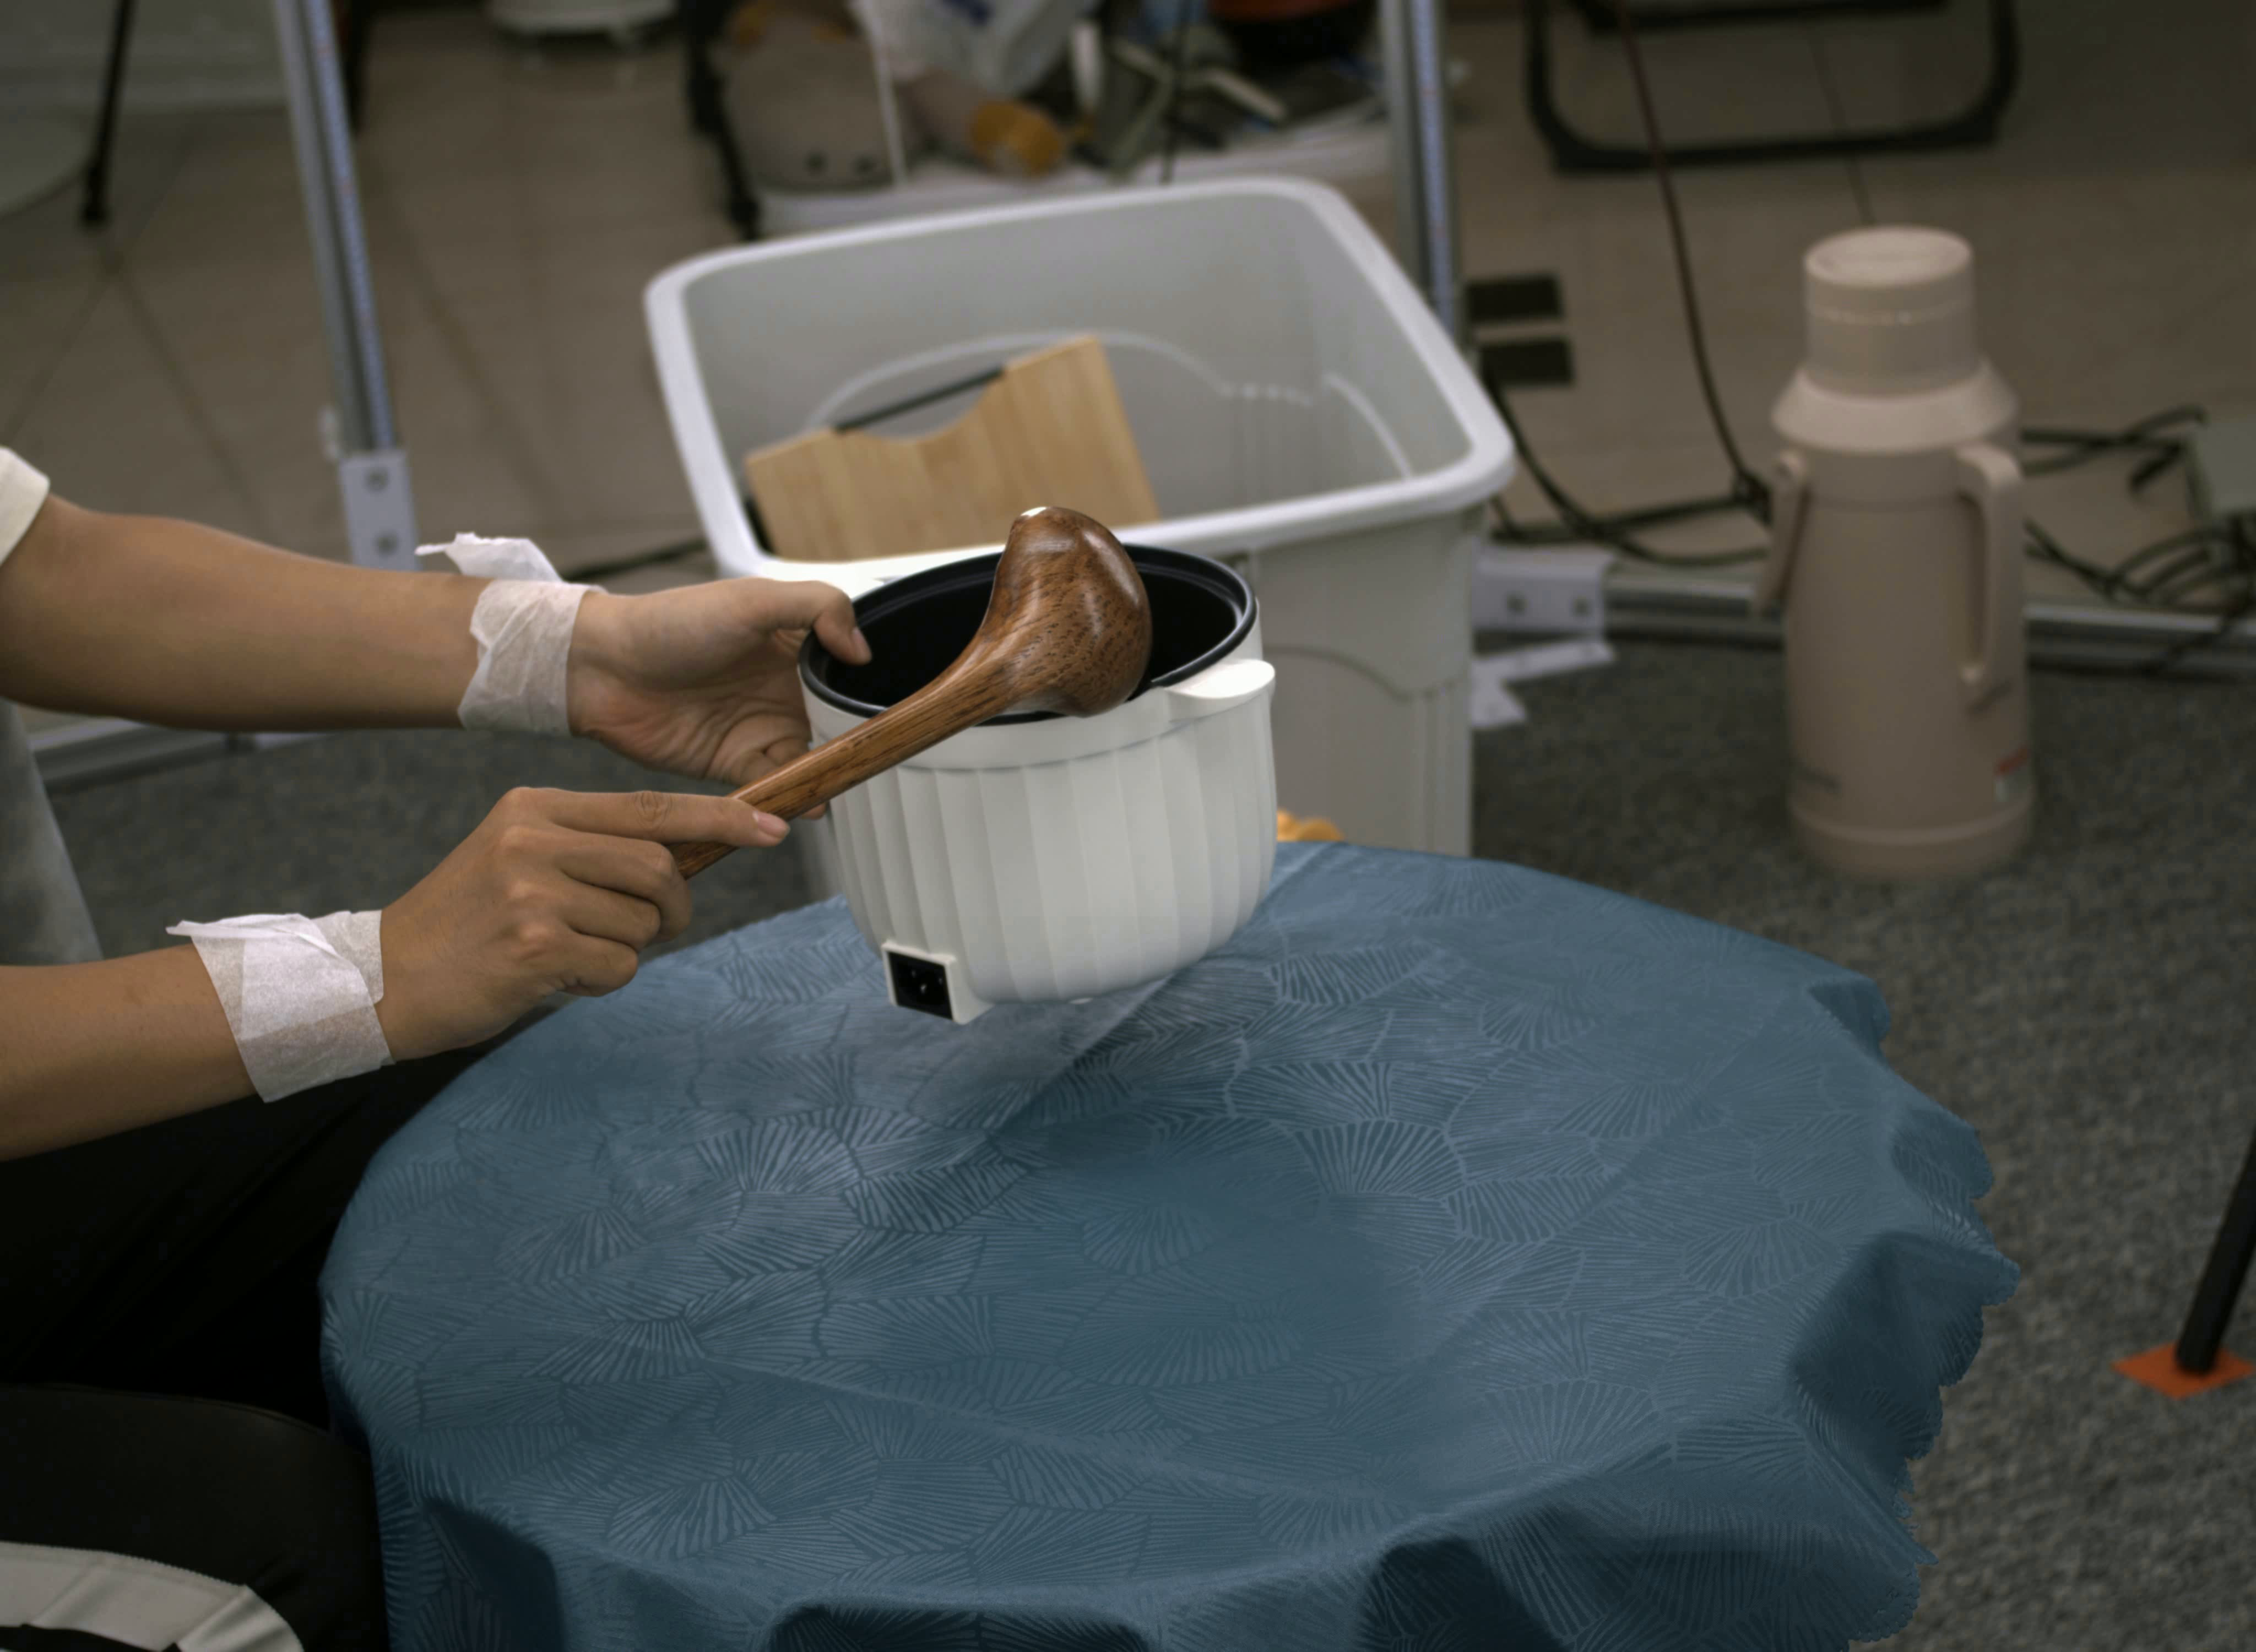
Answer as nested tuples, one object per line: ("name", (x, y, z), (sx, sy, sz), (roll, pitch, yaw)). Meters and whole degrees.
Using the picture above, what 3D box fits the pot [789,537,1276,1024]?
("pot", (-0.029, -0.021, 2.237), (0.239, 0.145, 0.188), (15, 36, 38))

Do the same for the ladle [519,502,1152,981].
("ladle", (-0.111, -0.029, 2.090), (0.273, 0.082, 0.076), (-31, 13, -8))
